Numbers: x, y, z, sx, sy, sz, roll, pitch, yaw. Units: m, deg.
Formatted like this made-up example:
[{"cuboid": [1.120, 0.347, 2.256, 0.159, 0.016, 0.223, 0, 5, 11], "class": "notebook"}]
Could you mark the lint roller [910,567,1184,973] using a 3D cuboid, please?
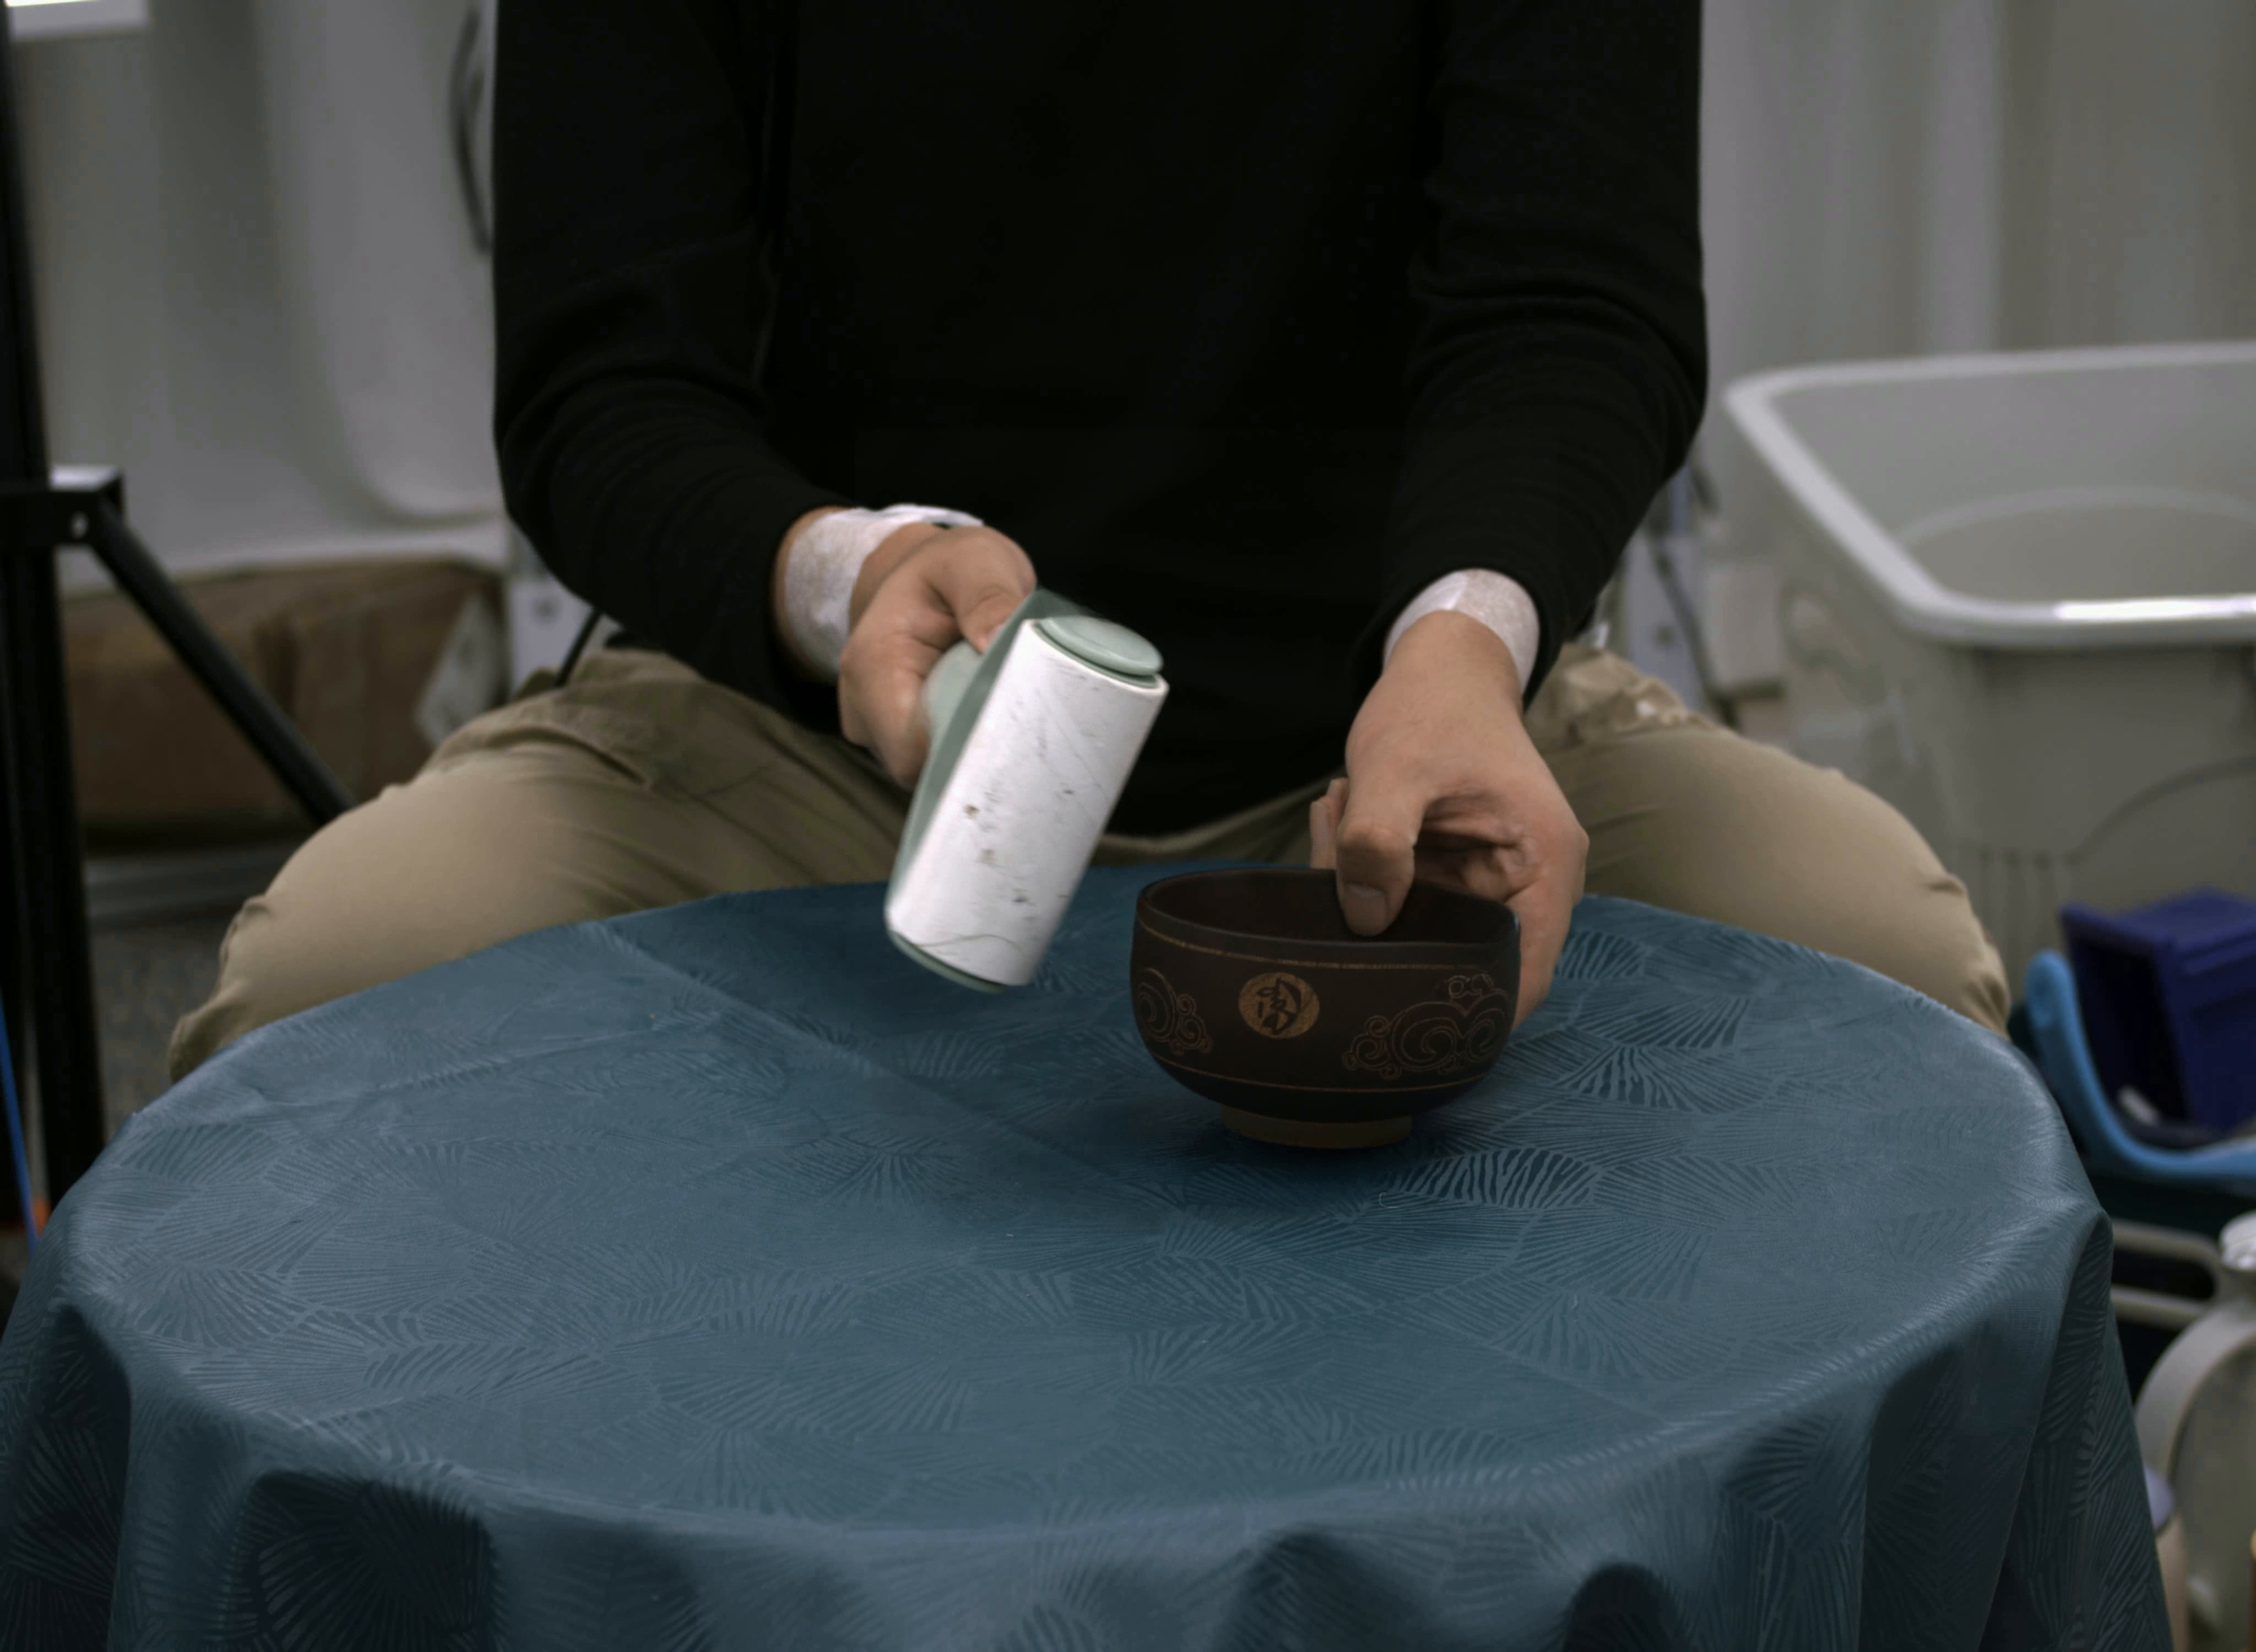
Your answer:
[{"cuboid": [-0.034, -0.036, 1.649, 0.048, 0.117, 0.199, 20, 14, -14], "class": "lint roller"}]

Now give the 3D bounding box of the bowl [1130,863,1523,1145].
[{"cuboid": [0.059, 0.056, 1.589, 0.117, 0.070, 0.118, 2, 10, -2], "class": "bowl"}]
